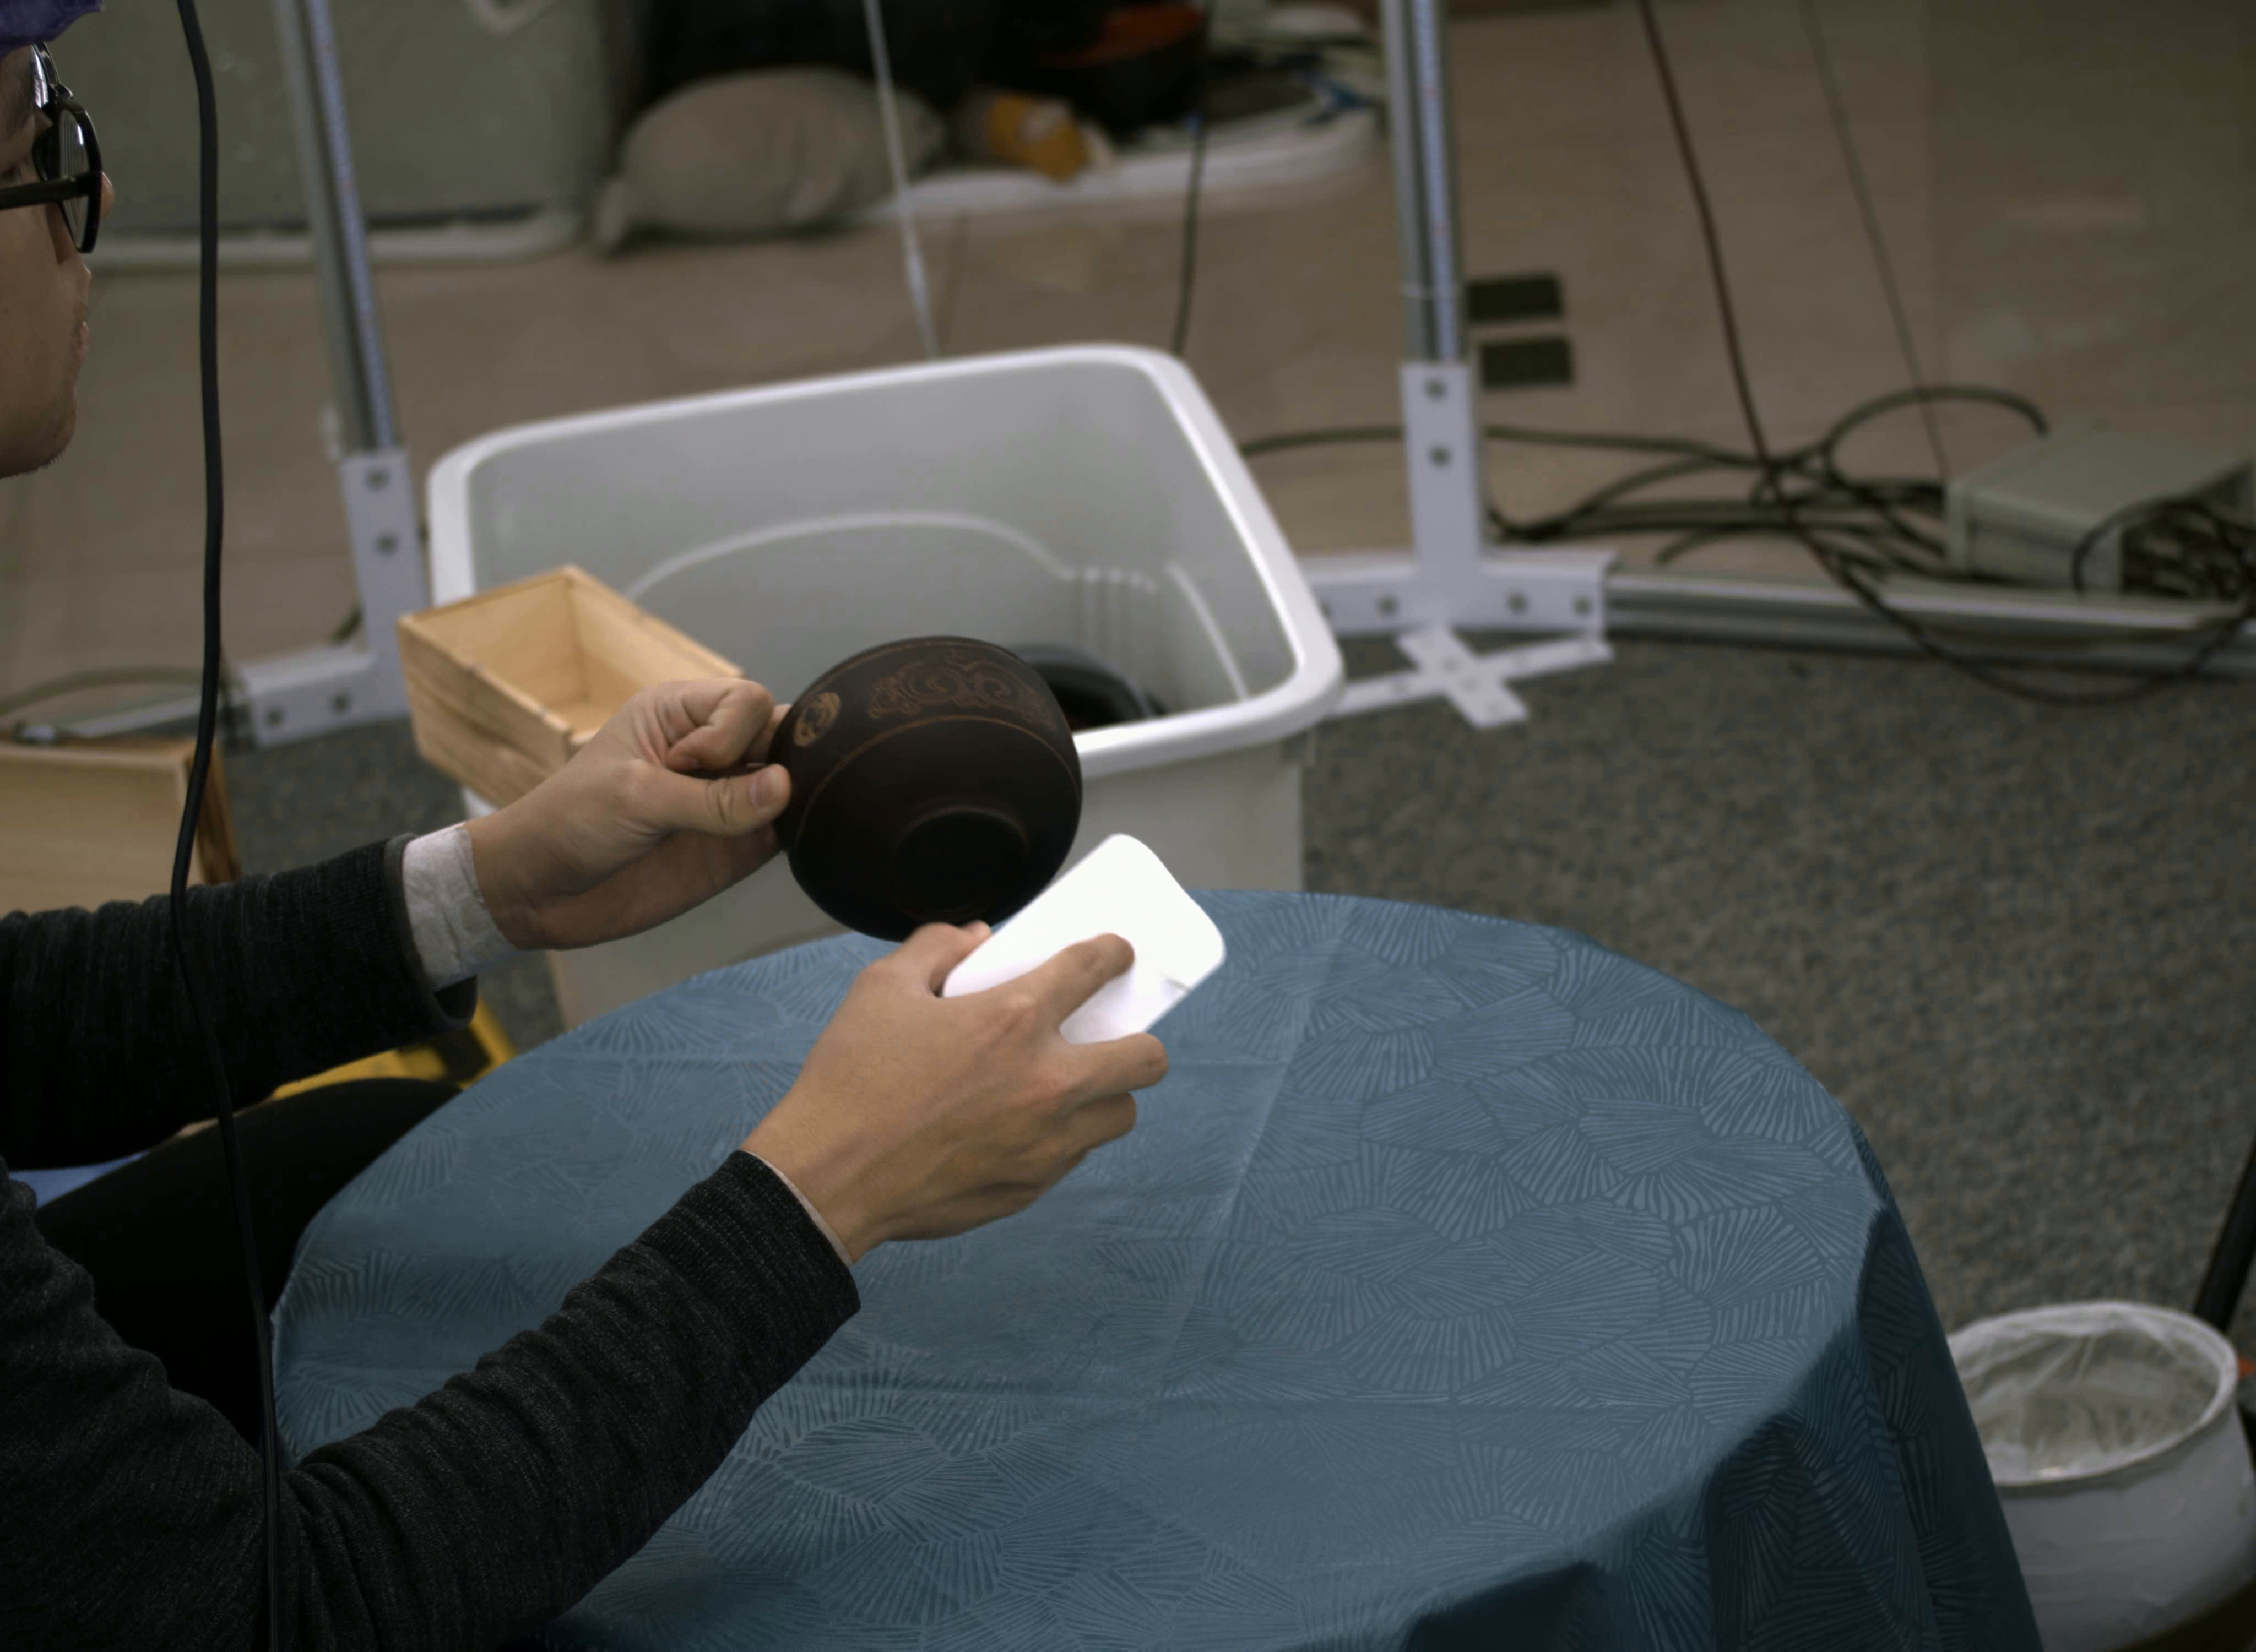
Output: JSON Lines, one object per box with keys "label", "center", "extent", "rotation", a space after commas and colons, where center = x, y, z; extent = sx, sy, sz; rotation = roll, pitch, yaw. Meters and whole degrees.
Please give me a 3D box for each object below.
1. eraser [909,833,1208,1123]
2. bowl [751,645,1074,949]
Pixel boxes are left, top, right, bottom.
{"label": "eraser", "center": [-0.024, 0.052, 2.021], "extent": [0.035, 0.063, 0.129], "rotation": [-38, 2, 43]}
{"label": "bowl", "center": [-0.075, -0.001, 2.081], "extent": [0.118, 0.120, 0.068], "rotation": [-11, 47, -11]}
